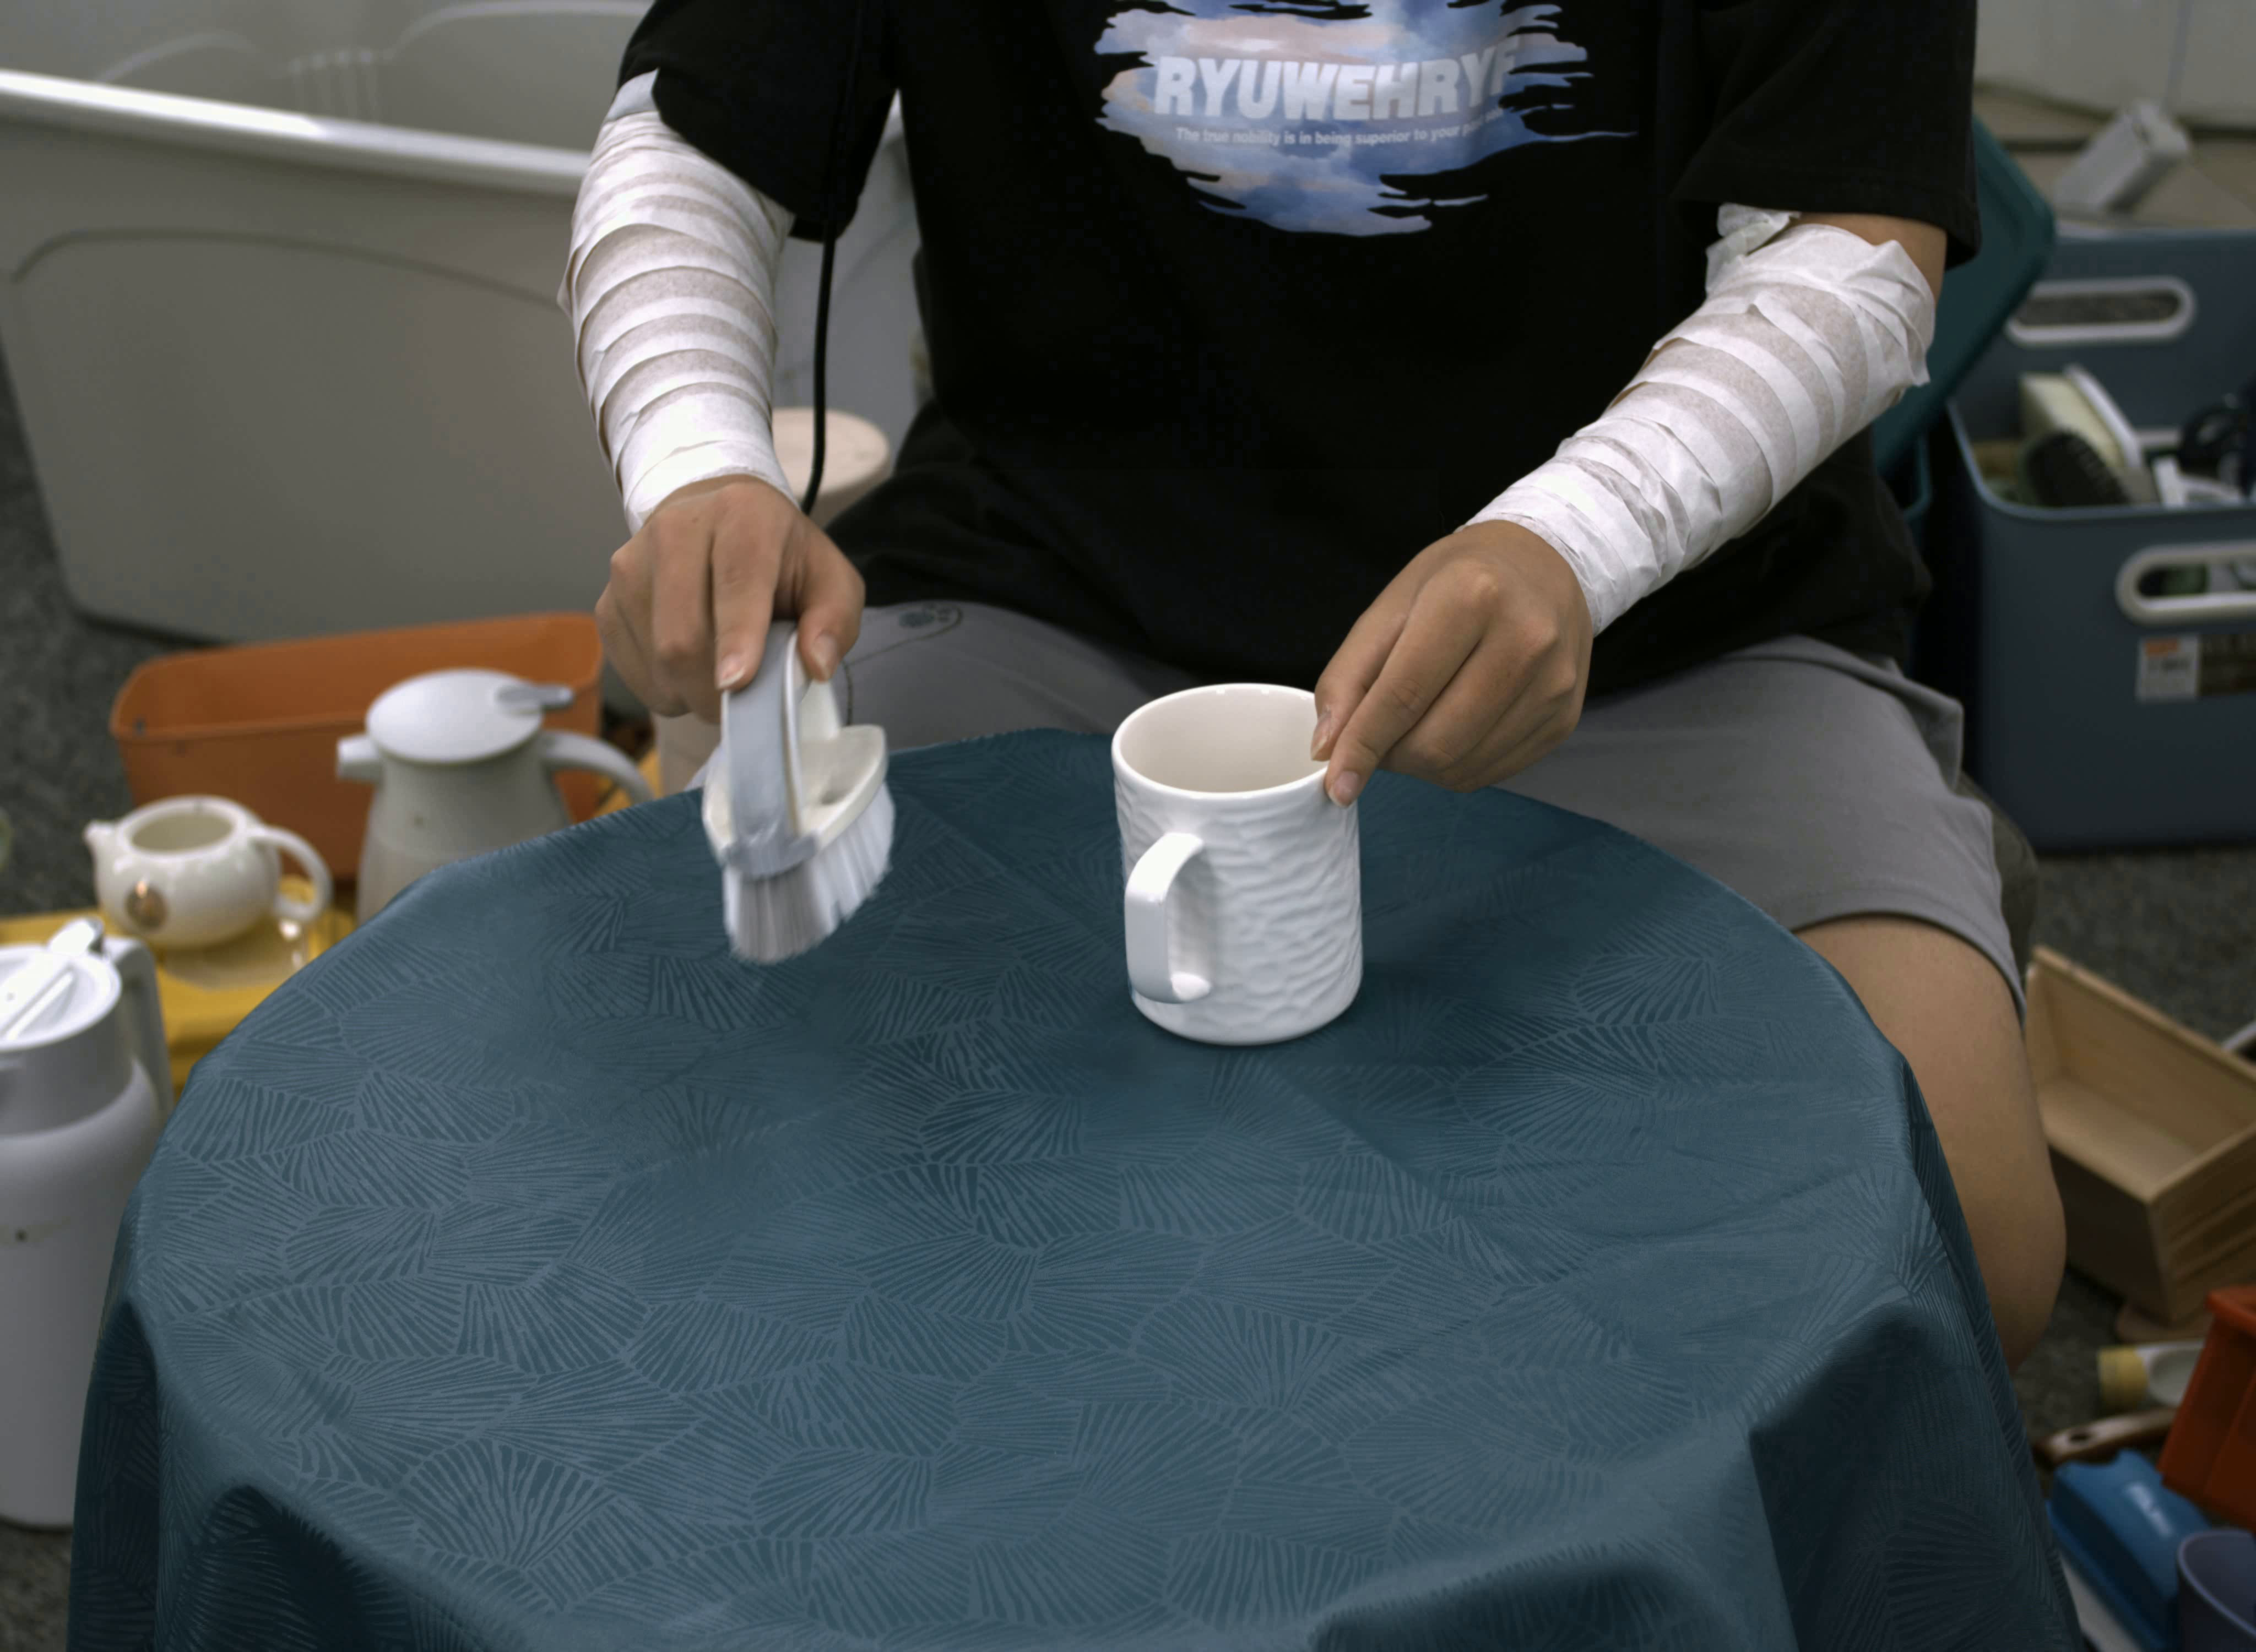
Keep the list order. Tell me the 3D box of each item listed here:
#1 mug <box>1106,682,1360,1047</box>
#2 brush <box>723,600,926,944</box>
[{"bbox_3d":[0.031,0.021,1.942,0.084,0.101,0.120,9,30,23],"label":"mug"},{"bbox_3d":[-0.111,-0.023,1.910,0.061,0.094,0.177,-15,15,8],"label":"brush"}]
